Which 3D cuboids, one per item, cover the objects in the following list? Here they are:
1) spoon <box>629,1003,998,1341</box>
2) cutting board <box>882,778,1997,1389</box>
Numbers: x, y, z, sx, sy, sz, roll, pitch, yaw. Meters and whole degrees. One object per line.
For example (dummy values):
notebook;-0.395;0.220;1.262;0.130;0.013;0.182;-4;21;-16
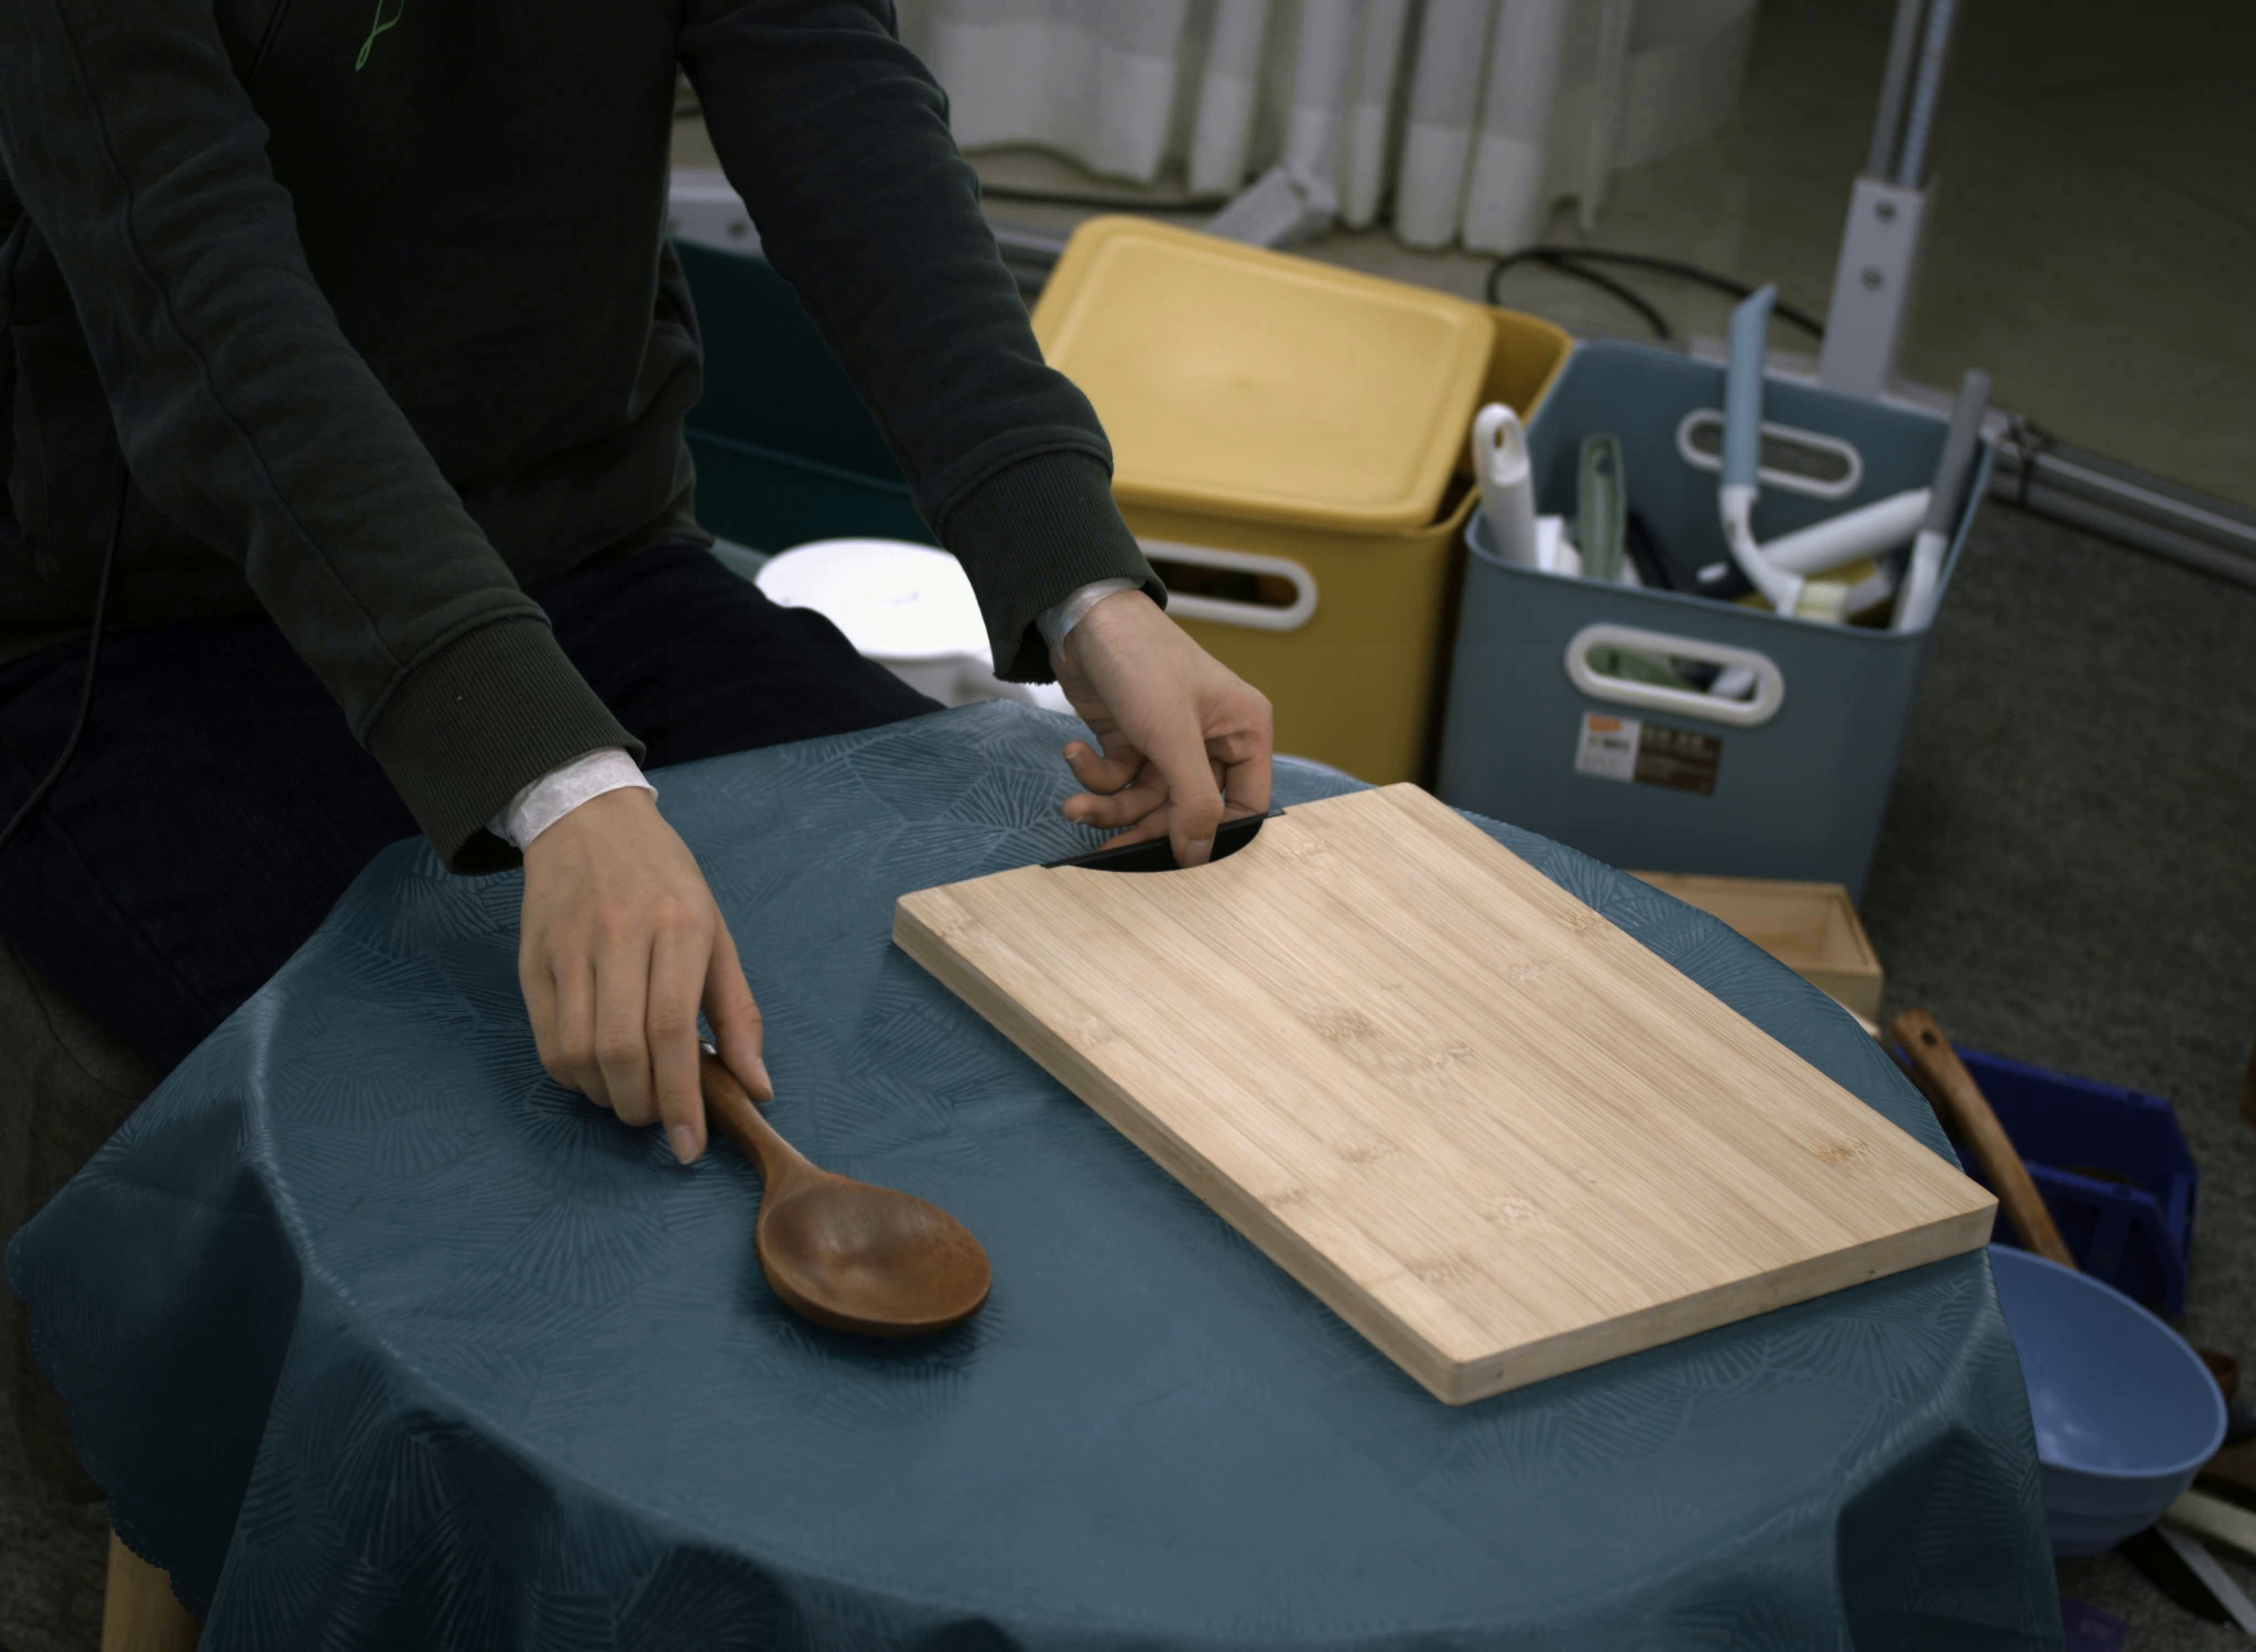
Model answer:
spoon;-0.113;0.115;1.771;0.075;0.017;0.218;-11;32;-27
cutting board;0.104;0.083;1.886;0.249;0.023;0.352;-12;32;-34
